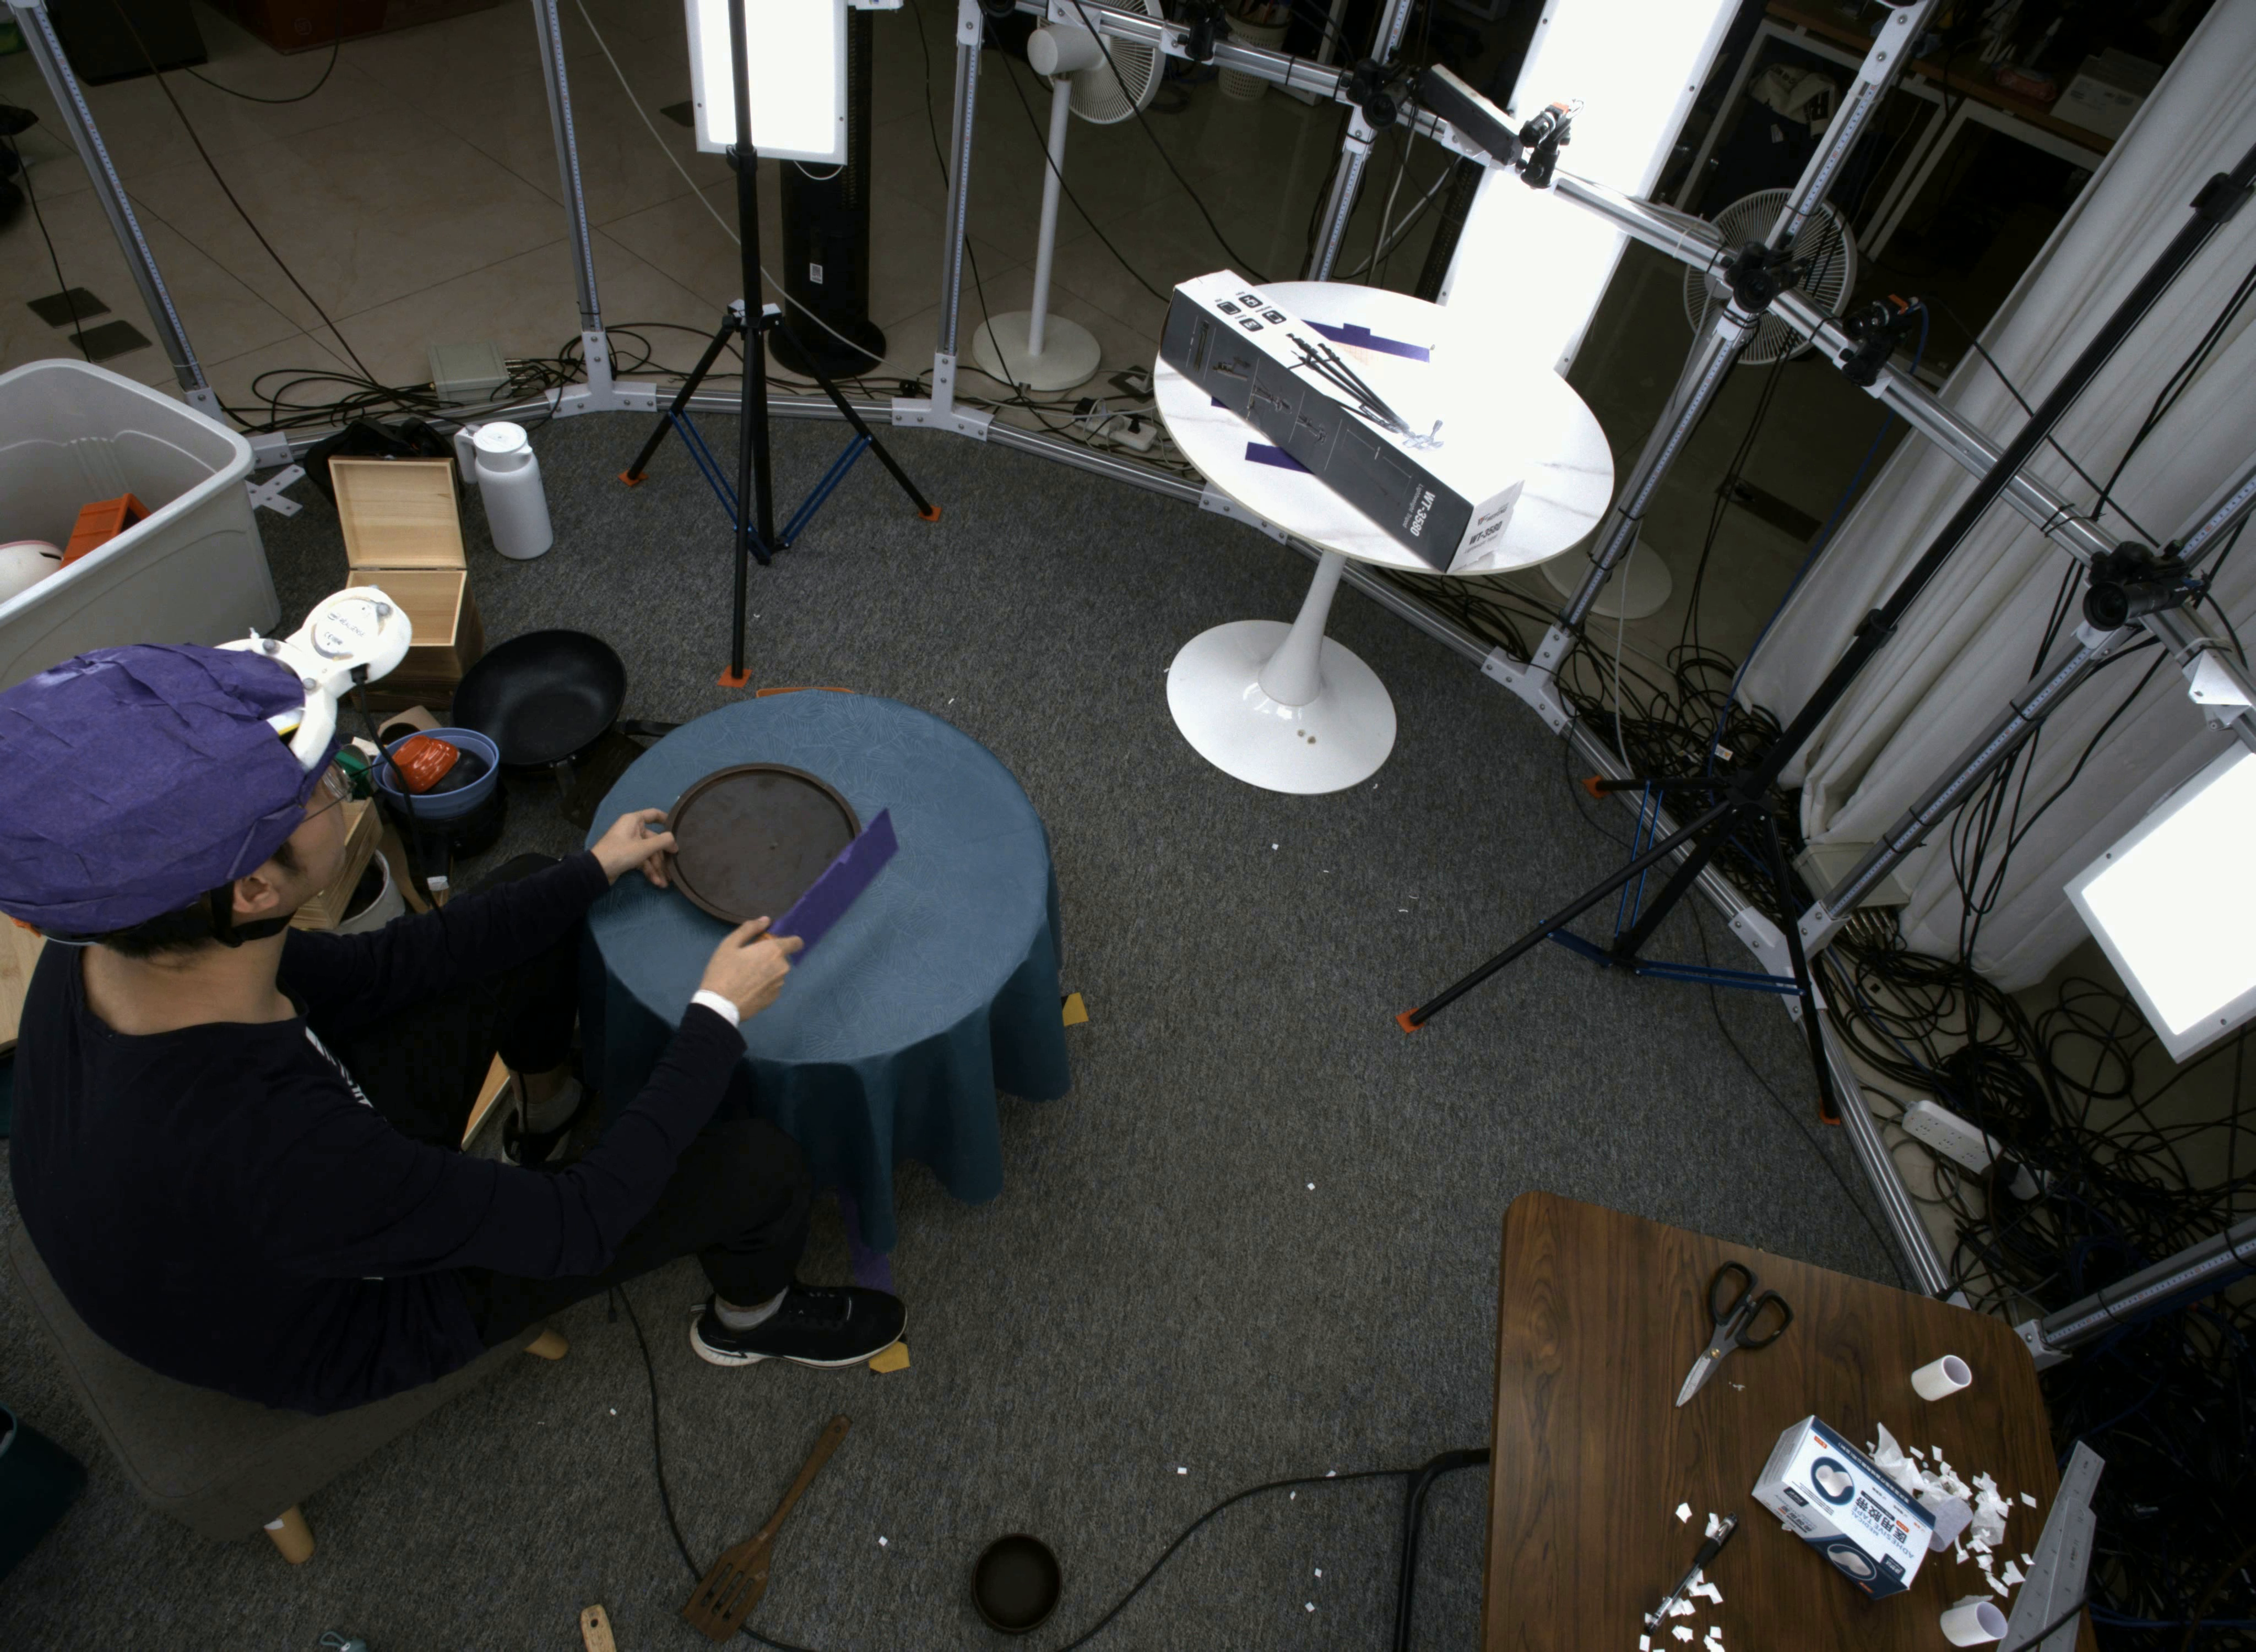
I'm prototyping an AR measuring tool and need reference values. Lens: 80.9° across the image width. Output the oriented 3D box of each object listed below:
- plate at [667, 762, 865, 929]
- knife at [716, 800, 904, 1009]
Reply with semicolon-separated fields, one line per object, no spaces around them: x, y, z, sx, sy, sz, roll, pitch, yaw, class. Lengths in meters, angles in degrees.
-0.467;0.023;1.679;0.255;0.029;0.250;11;53;-13;plate
-0.364;0.106;1.542;0.031;0.107;0.314;23;56;23;knife
